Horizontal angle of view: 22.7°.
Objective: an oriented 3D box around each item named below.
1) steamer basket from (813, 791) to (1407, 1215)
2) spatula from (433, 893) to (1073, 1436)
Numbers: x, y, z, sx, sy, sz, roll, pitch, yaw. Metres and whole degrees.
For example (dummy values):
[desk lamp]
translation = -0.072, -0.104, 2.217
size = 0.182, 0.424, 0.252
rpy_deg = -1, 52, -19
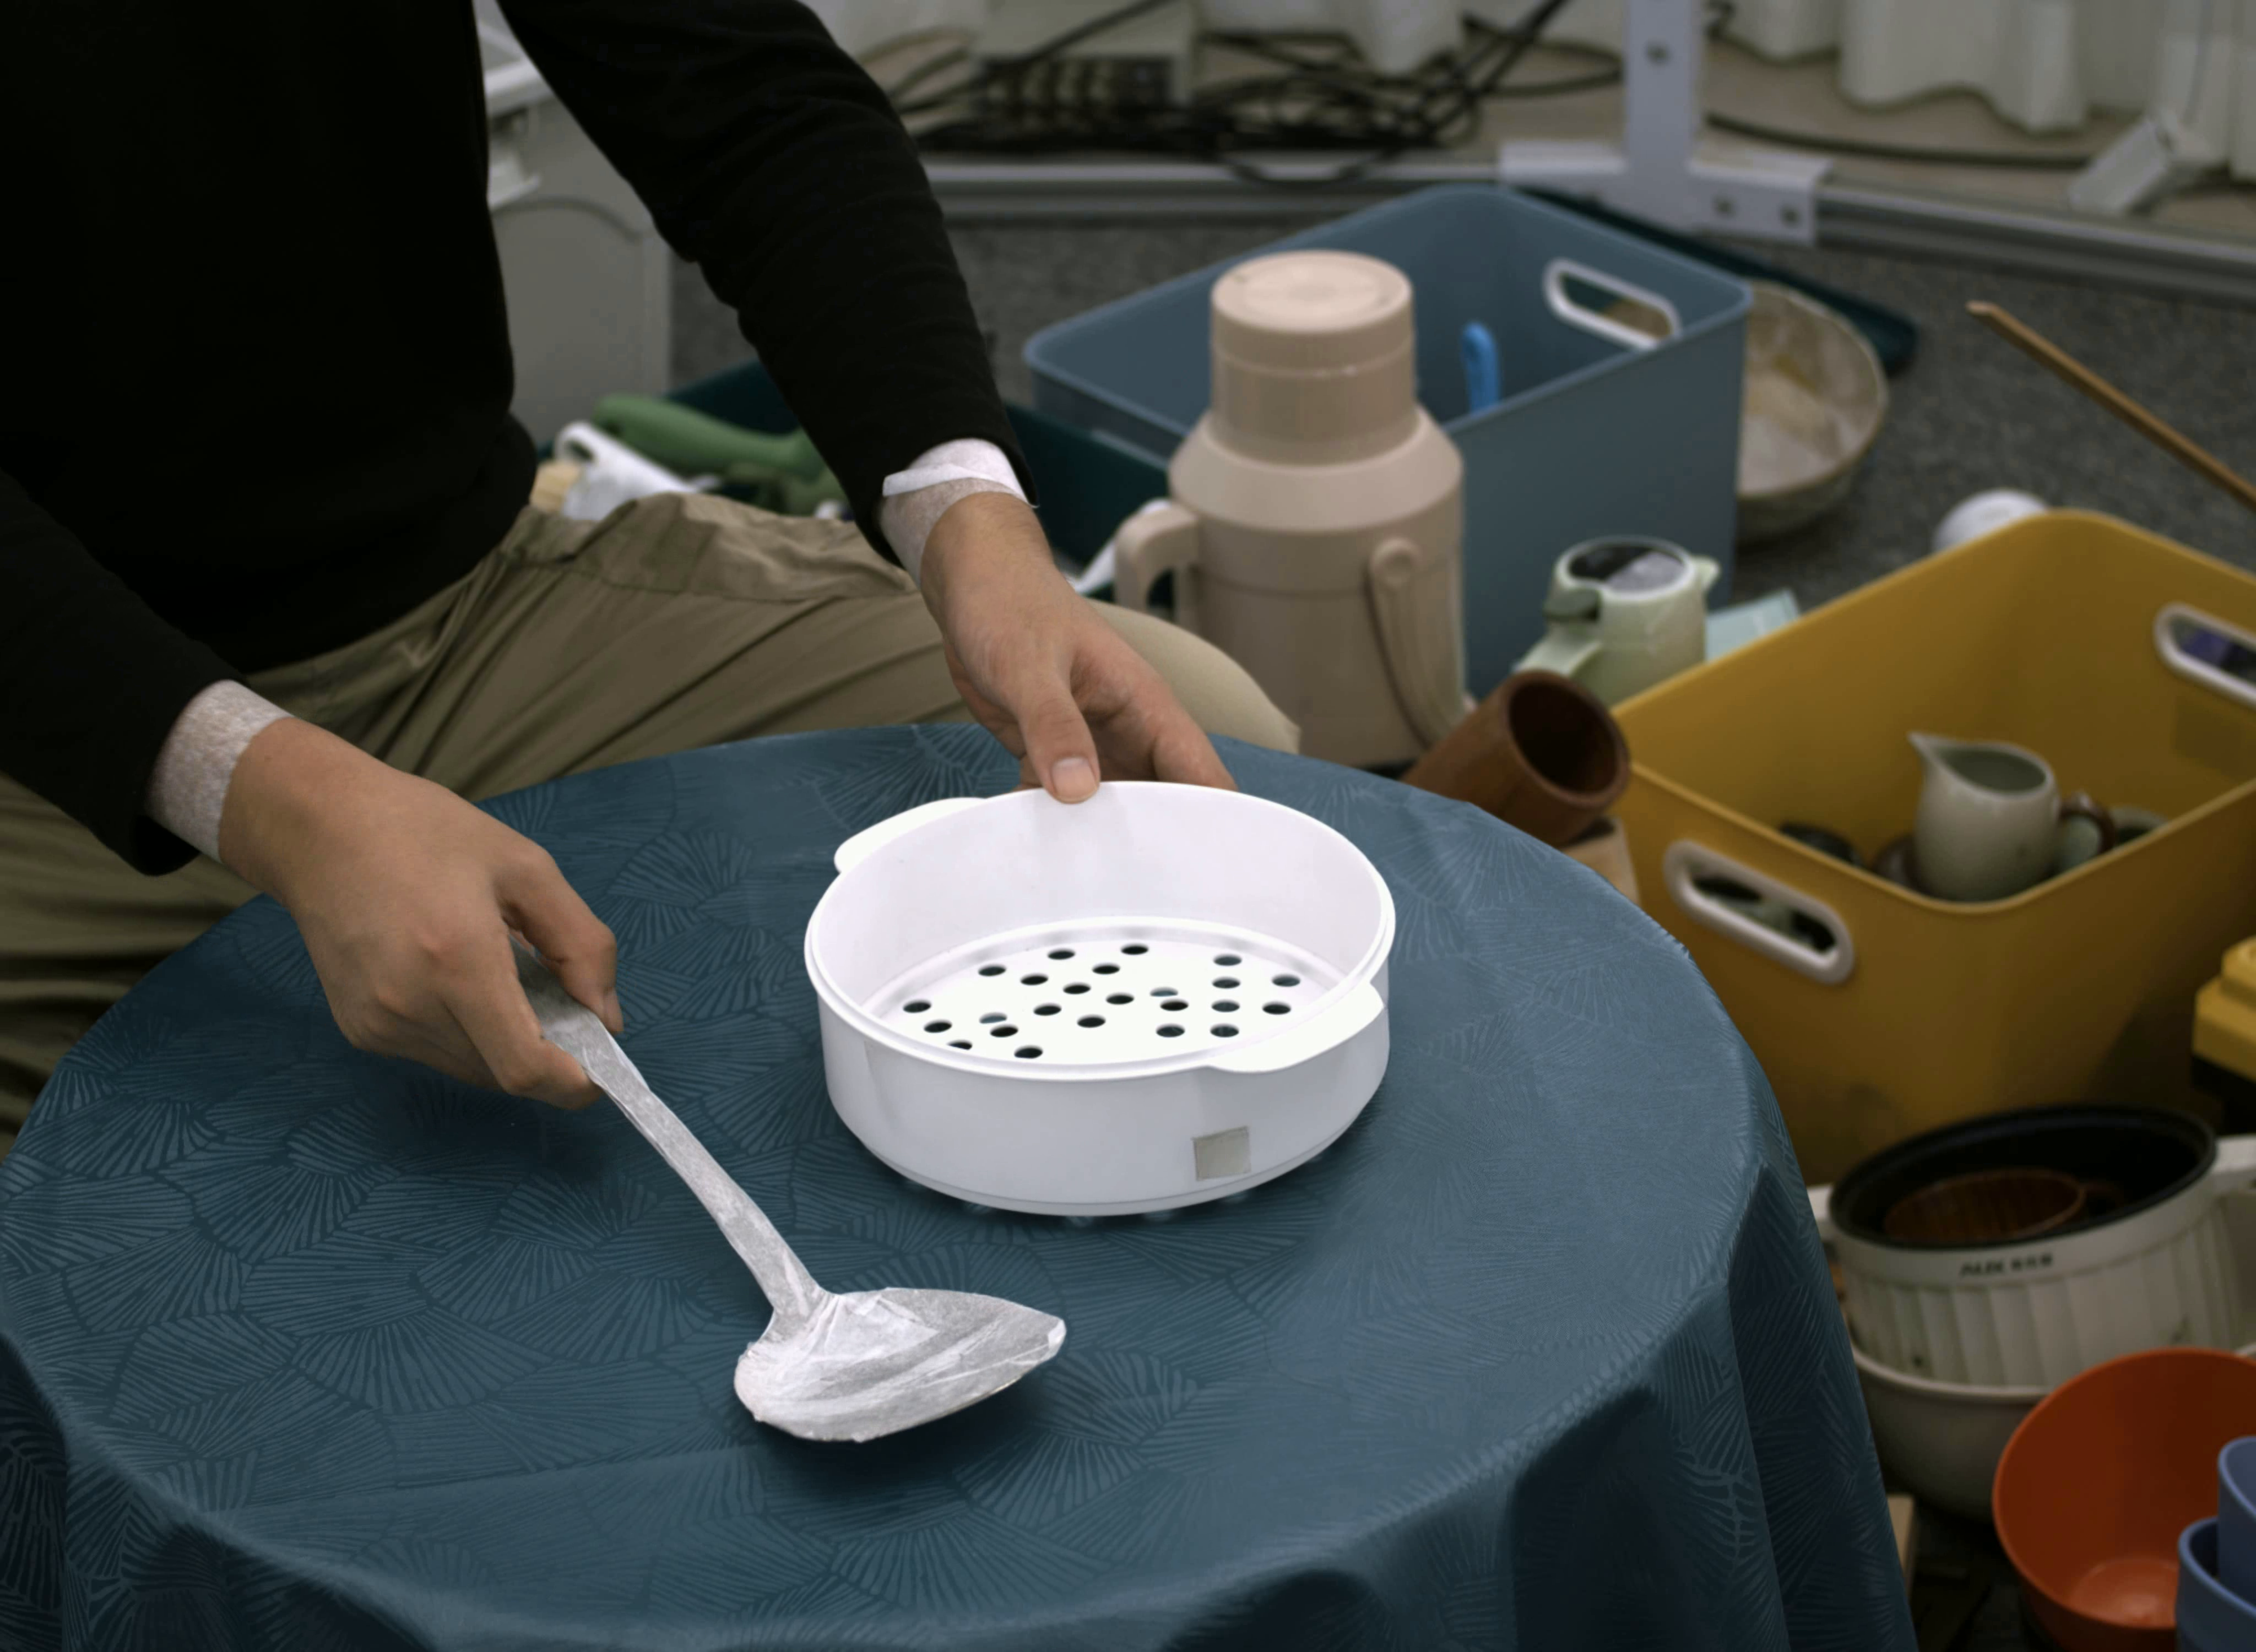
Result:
[steamer basket]
translation = -0.005, 0.060, 1.905
size = 0.204, 0.068, 0.230
rpy_deg = -23, 32, -35
[spatula]
translation = -0.146, 0.100, 1.843
size = 0.099, 0.044, 0.367
rpy_deg = -21, 41, -26
